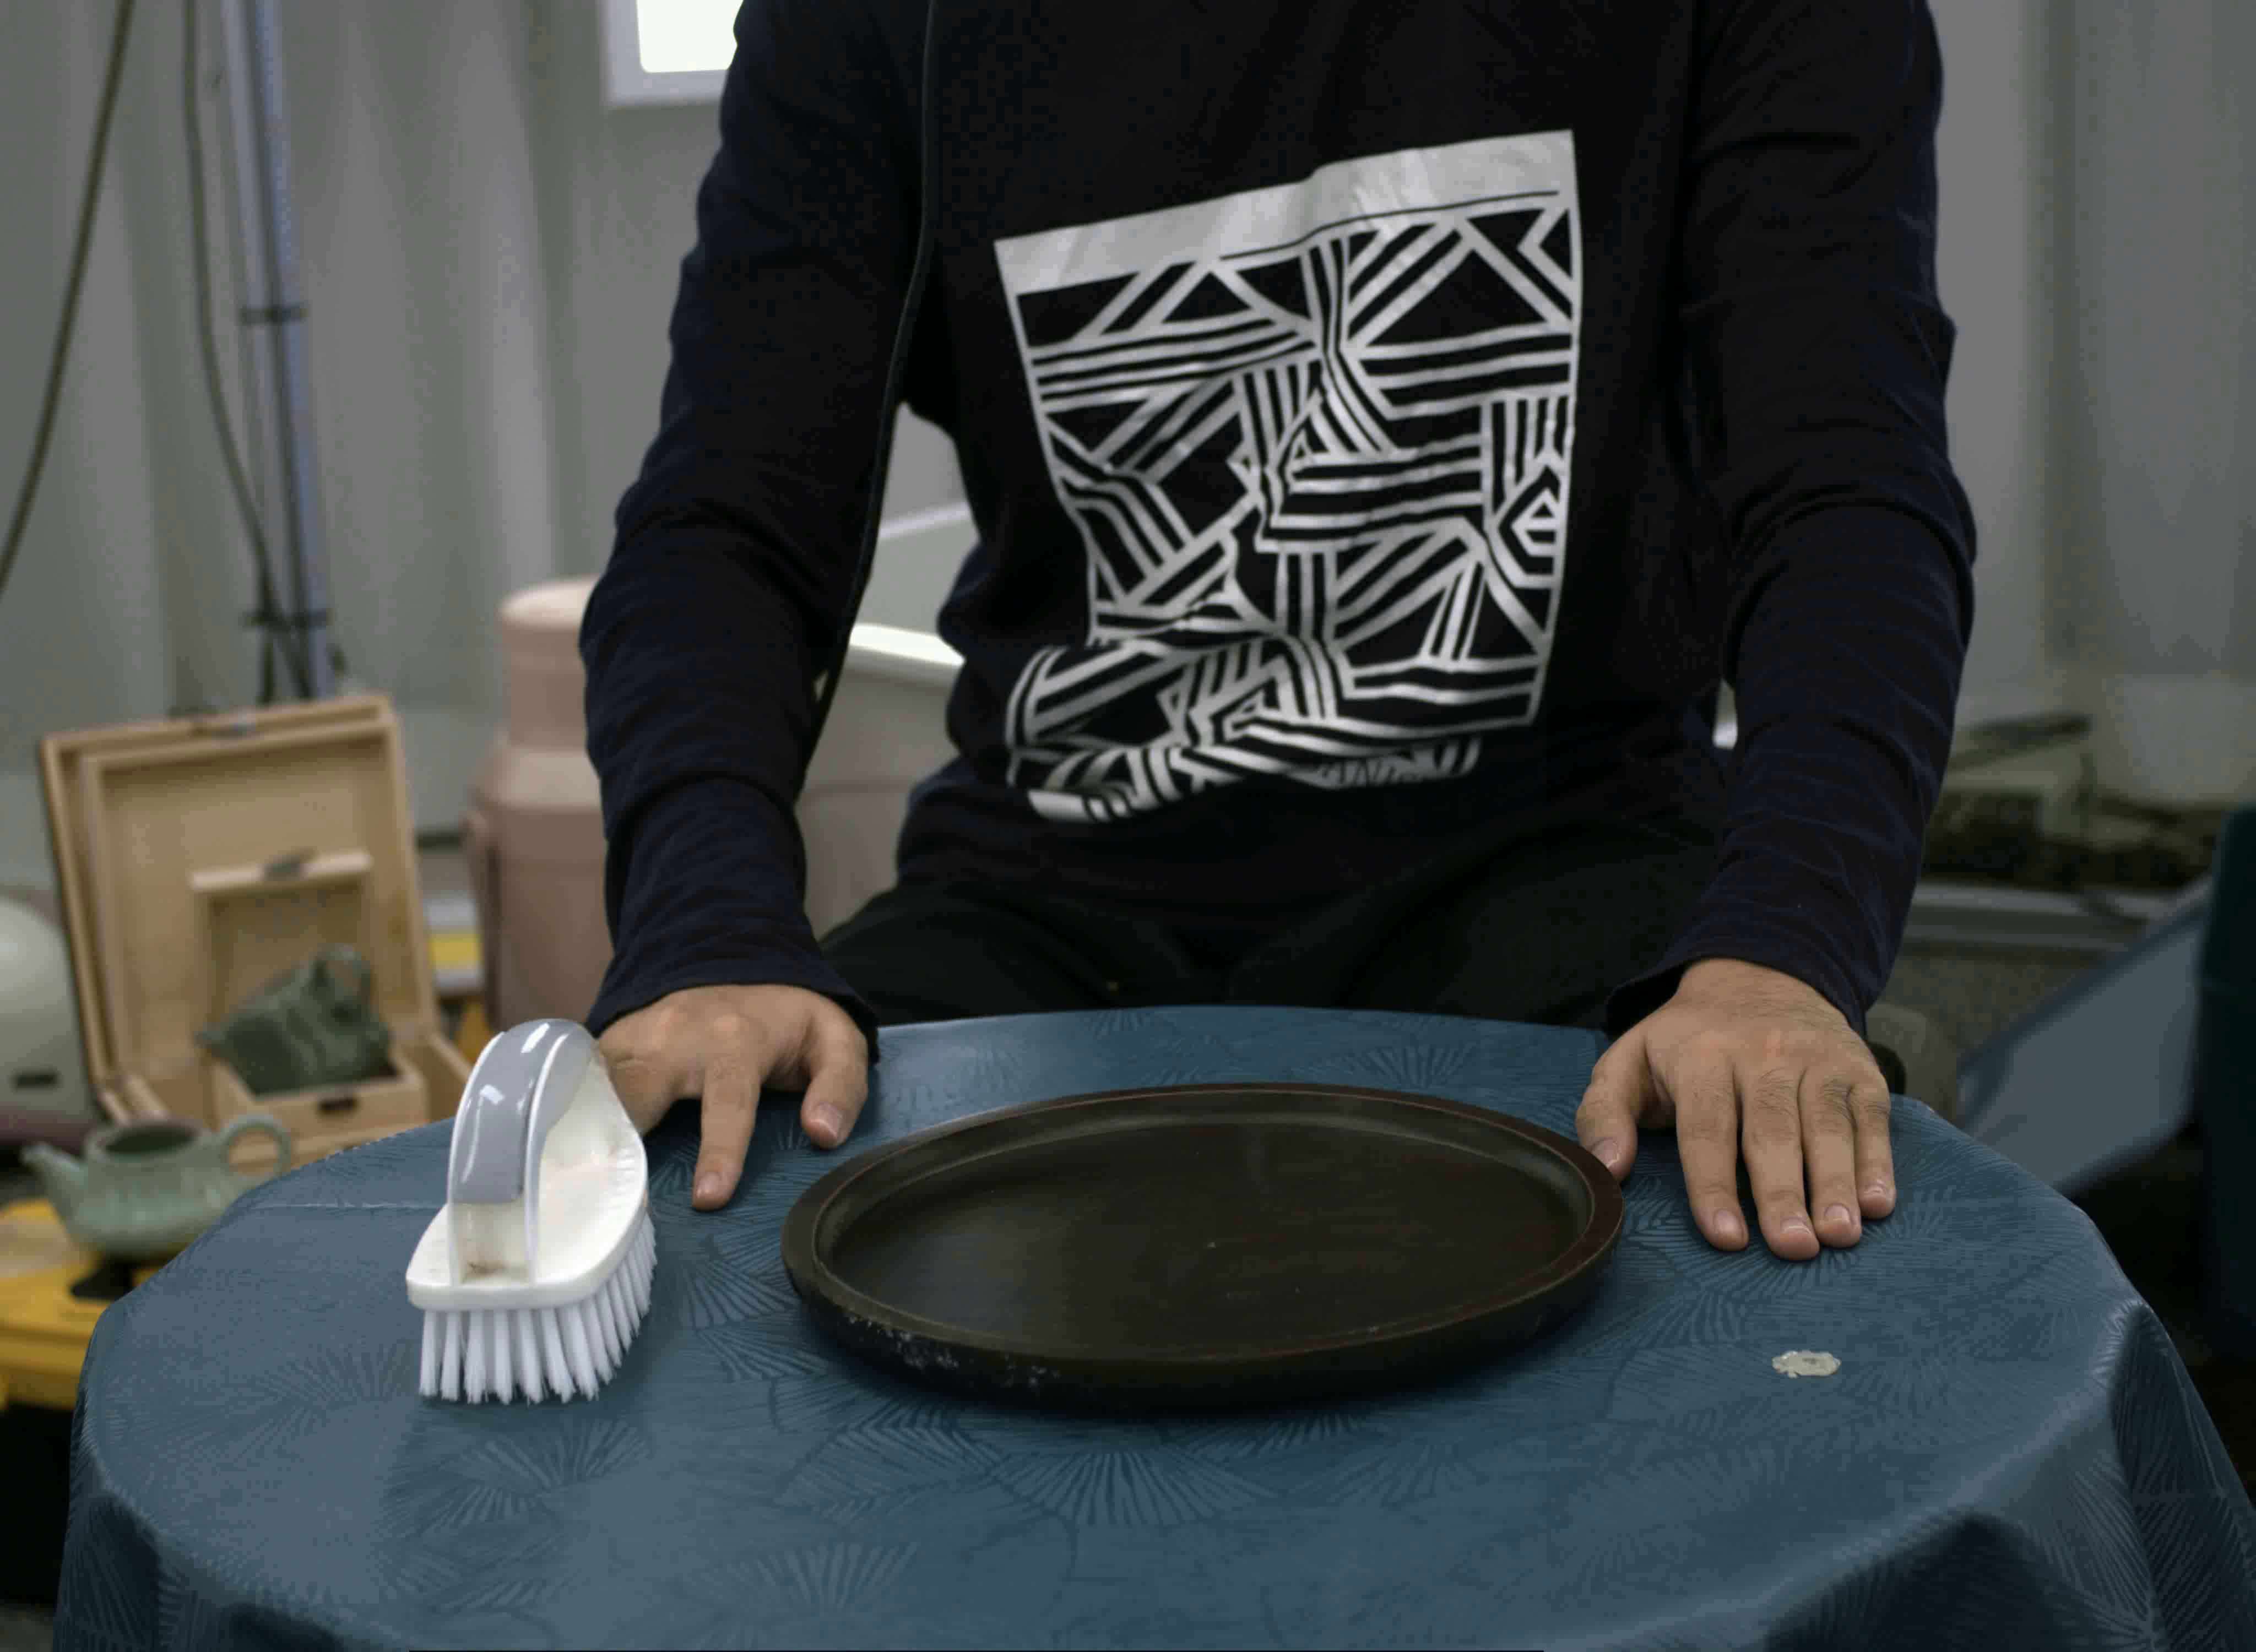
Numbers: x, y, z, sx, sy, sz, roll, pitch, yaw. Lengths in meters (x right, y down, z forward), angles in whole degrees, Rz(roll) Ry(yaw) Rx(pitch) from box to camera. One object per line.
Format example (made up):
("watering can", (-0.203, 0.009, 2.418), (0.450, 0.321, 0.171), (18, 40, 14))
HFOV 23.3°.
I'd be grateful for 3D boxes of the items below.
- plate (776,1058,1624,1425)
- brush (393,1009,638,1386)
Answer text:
("plate", (0.021, 0.124, 1.631), (0.254, 0.029, 0.256), (-3, 16, 1))
("brush", (-0.175, 0.100, 1.629), (0.061, 0.094, 0.176), (0, 13, 6))
